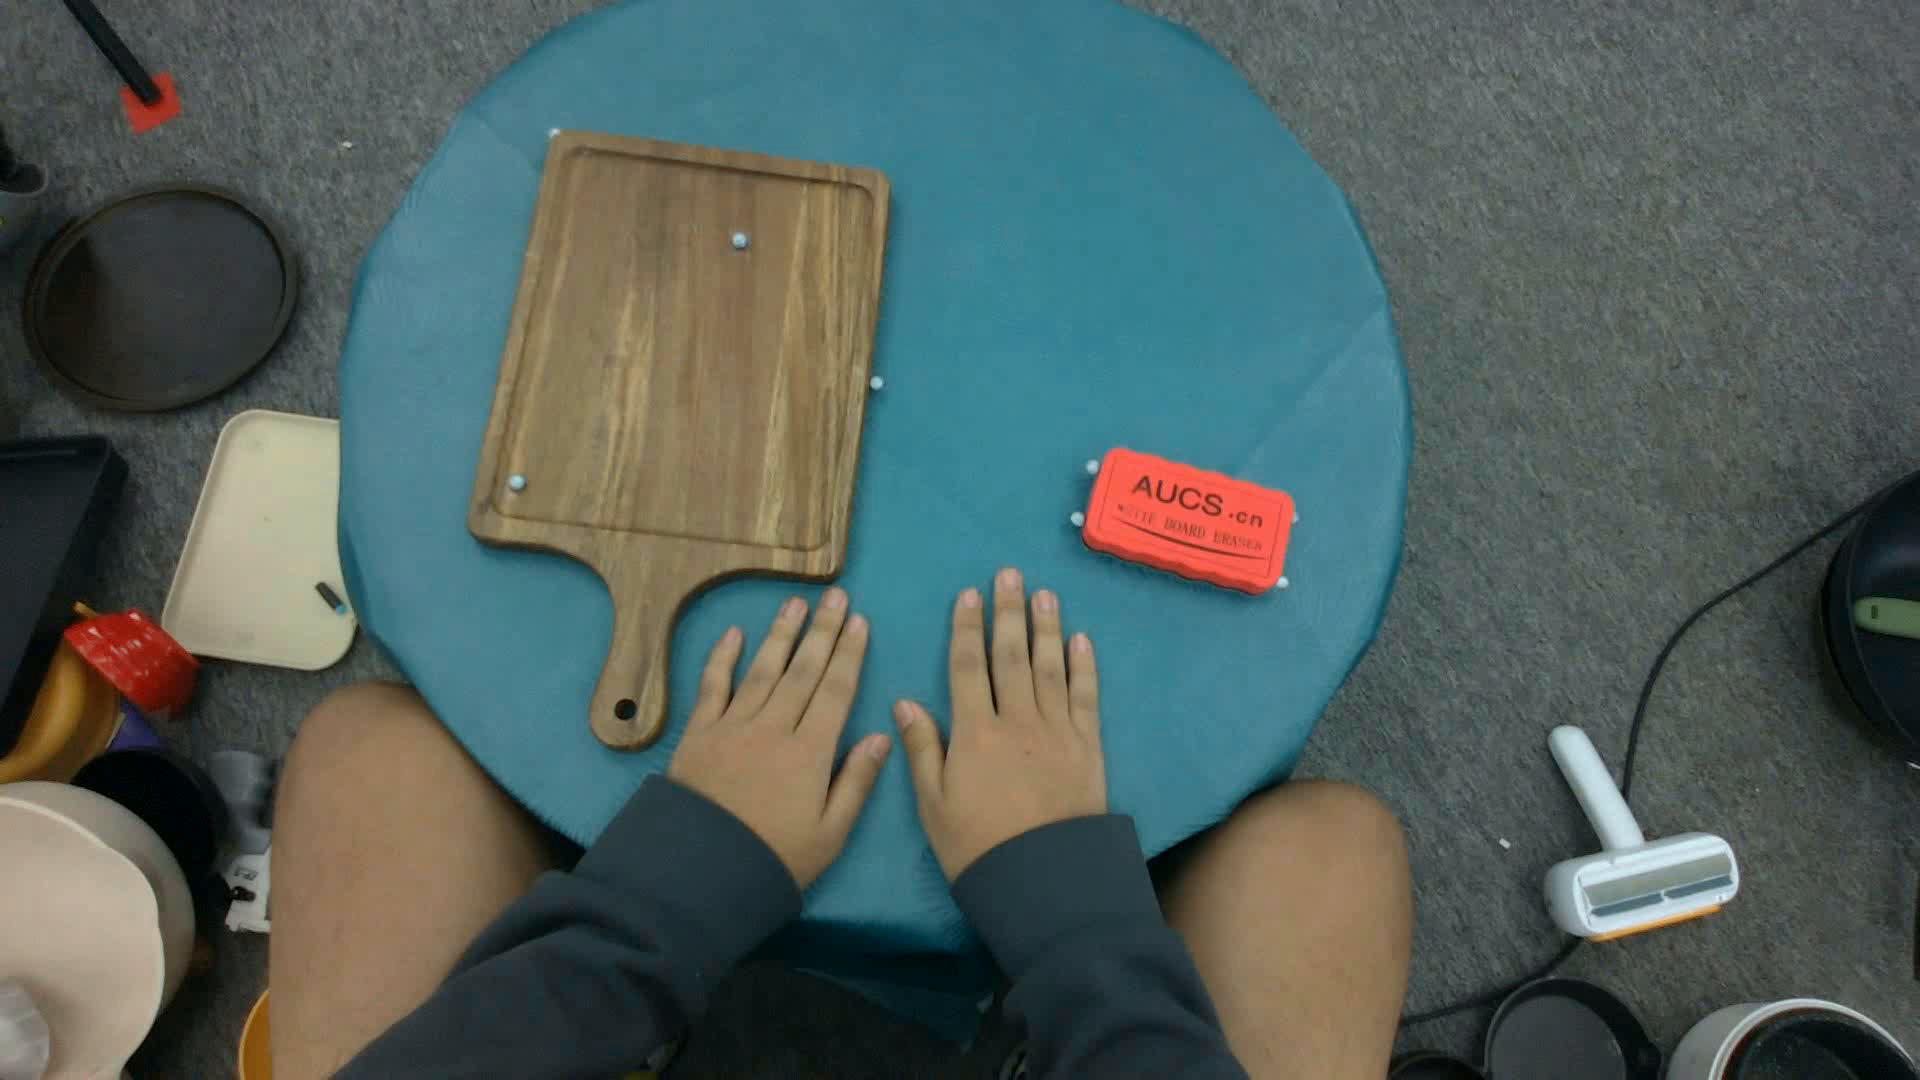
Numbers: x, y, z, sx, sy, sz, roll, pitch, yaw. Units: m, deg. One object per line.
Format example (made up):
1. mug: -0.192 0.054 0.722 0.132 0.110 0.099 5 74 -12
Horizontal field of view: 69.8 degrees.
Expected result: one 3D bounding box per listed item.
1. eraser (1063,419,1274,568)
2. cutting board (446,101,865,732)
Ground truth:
1. eraser: 0.113 -0.025 0.750 0.108 0.023 0.059 15 71 -2
2. cutting board: -0.164 -0.073 0.741 0.201 0.023 0.353 6 73 -4
